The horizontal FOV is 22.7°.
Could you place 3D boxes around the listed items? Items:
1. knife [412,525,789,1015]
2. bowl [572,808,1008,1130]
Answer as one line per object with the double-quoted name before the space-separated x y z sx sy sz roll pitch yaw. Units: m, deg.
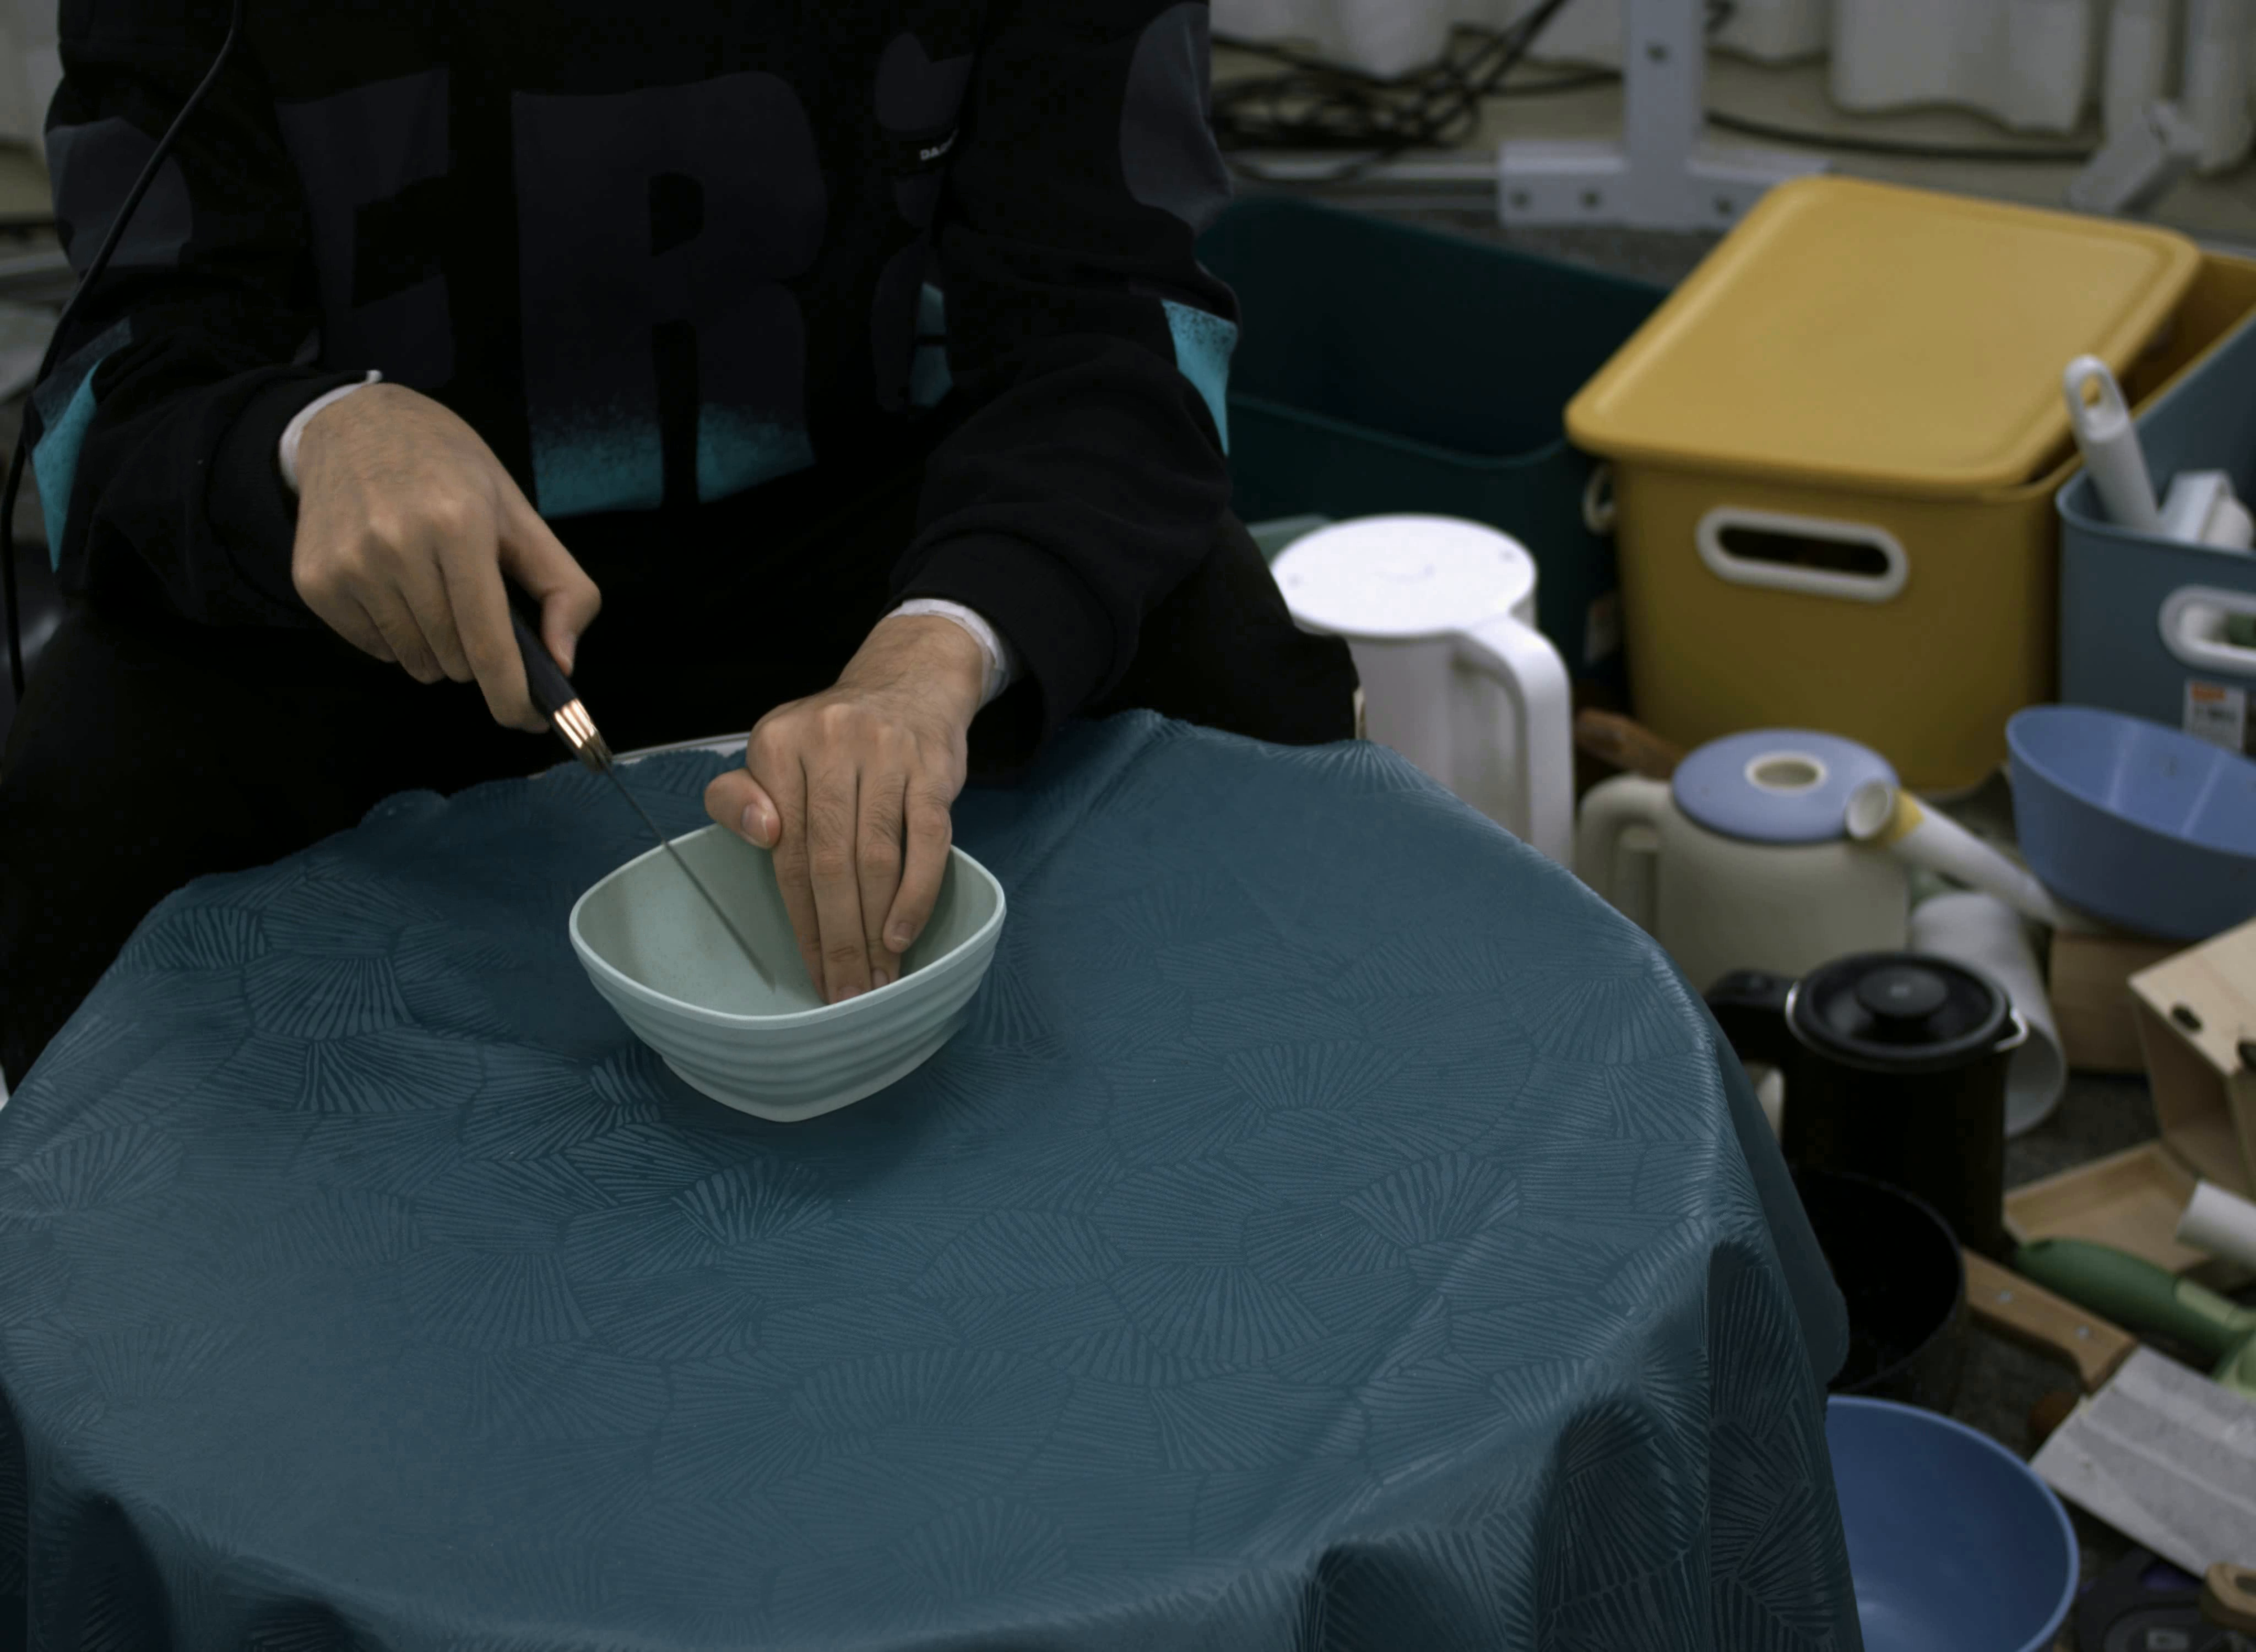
"knife" -0.182 -0.019 1.949 0.017 0.026 0.227 -34 69 -13
"bowl" -0.114 0.055 1.943 0.150 0.058 0.154 -3 28 2
